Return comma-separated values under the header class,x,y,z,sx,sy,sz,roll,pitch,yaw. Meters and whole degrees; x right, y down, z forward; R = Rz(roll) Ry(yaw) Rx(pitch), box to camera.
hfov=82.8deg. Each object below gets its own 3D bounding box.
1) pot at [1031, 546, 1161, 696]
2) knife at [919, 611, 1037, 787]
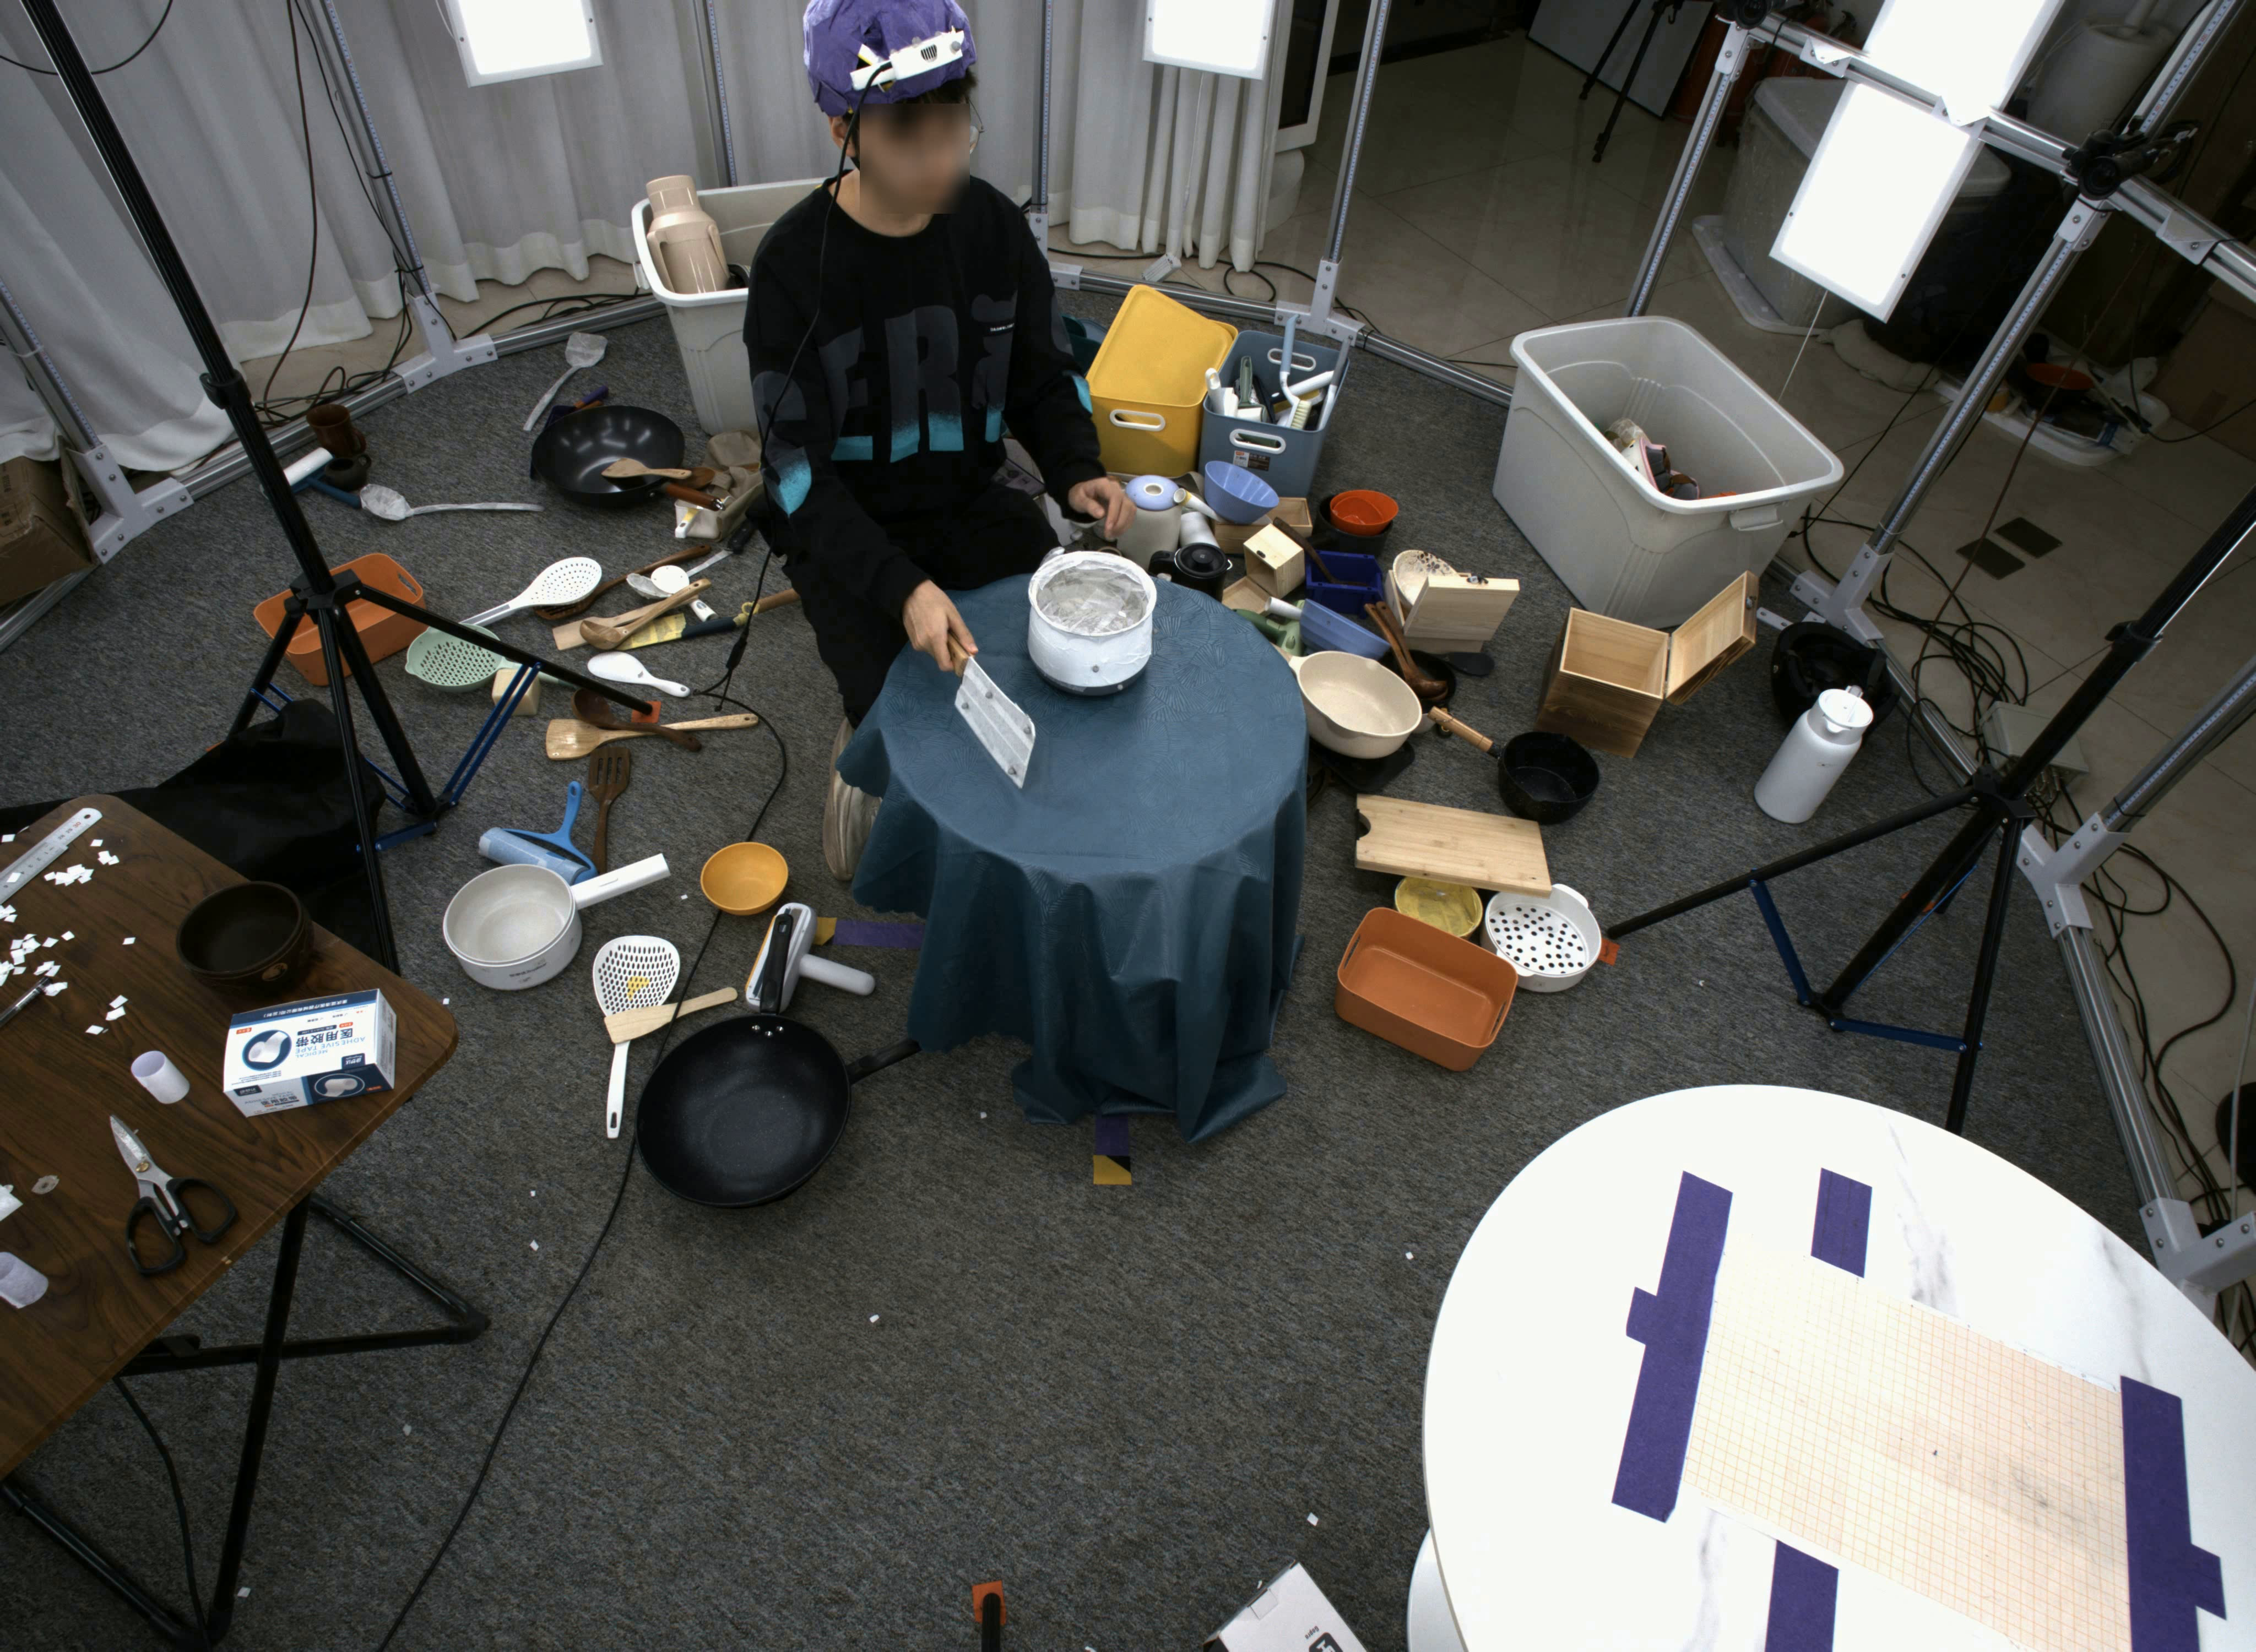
class,x,y,z,sx,sy,sz,roll,pitch,yaw
pot,-0.062,-0.302,1.837,0.179,0.133,0.238,-22,55,-22
knife,-0.204,-0.186,1.739,0.022,0.112,0.322,-8,48,-37
